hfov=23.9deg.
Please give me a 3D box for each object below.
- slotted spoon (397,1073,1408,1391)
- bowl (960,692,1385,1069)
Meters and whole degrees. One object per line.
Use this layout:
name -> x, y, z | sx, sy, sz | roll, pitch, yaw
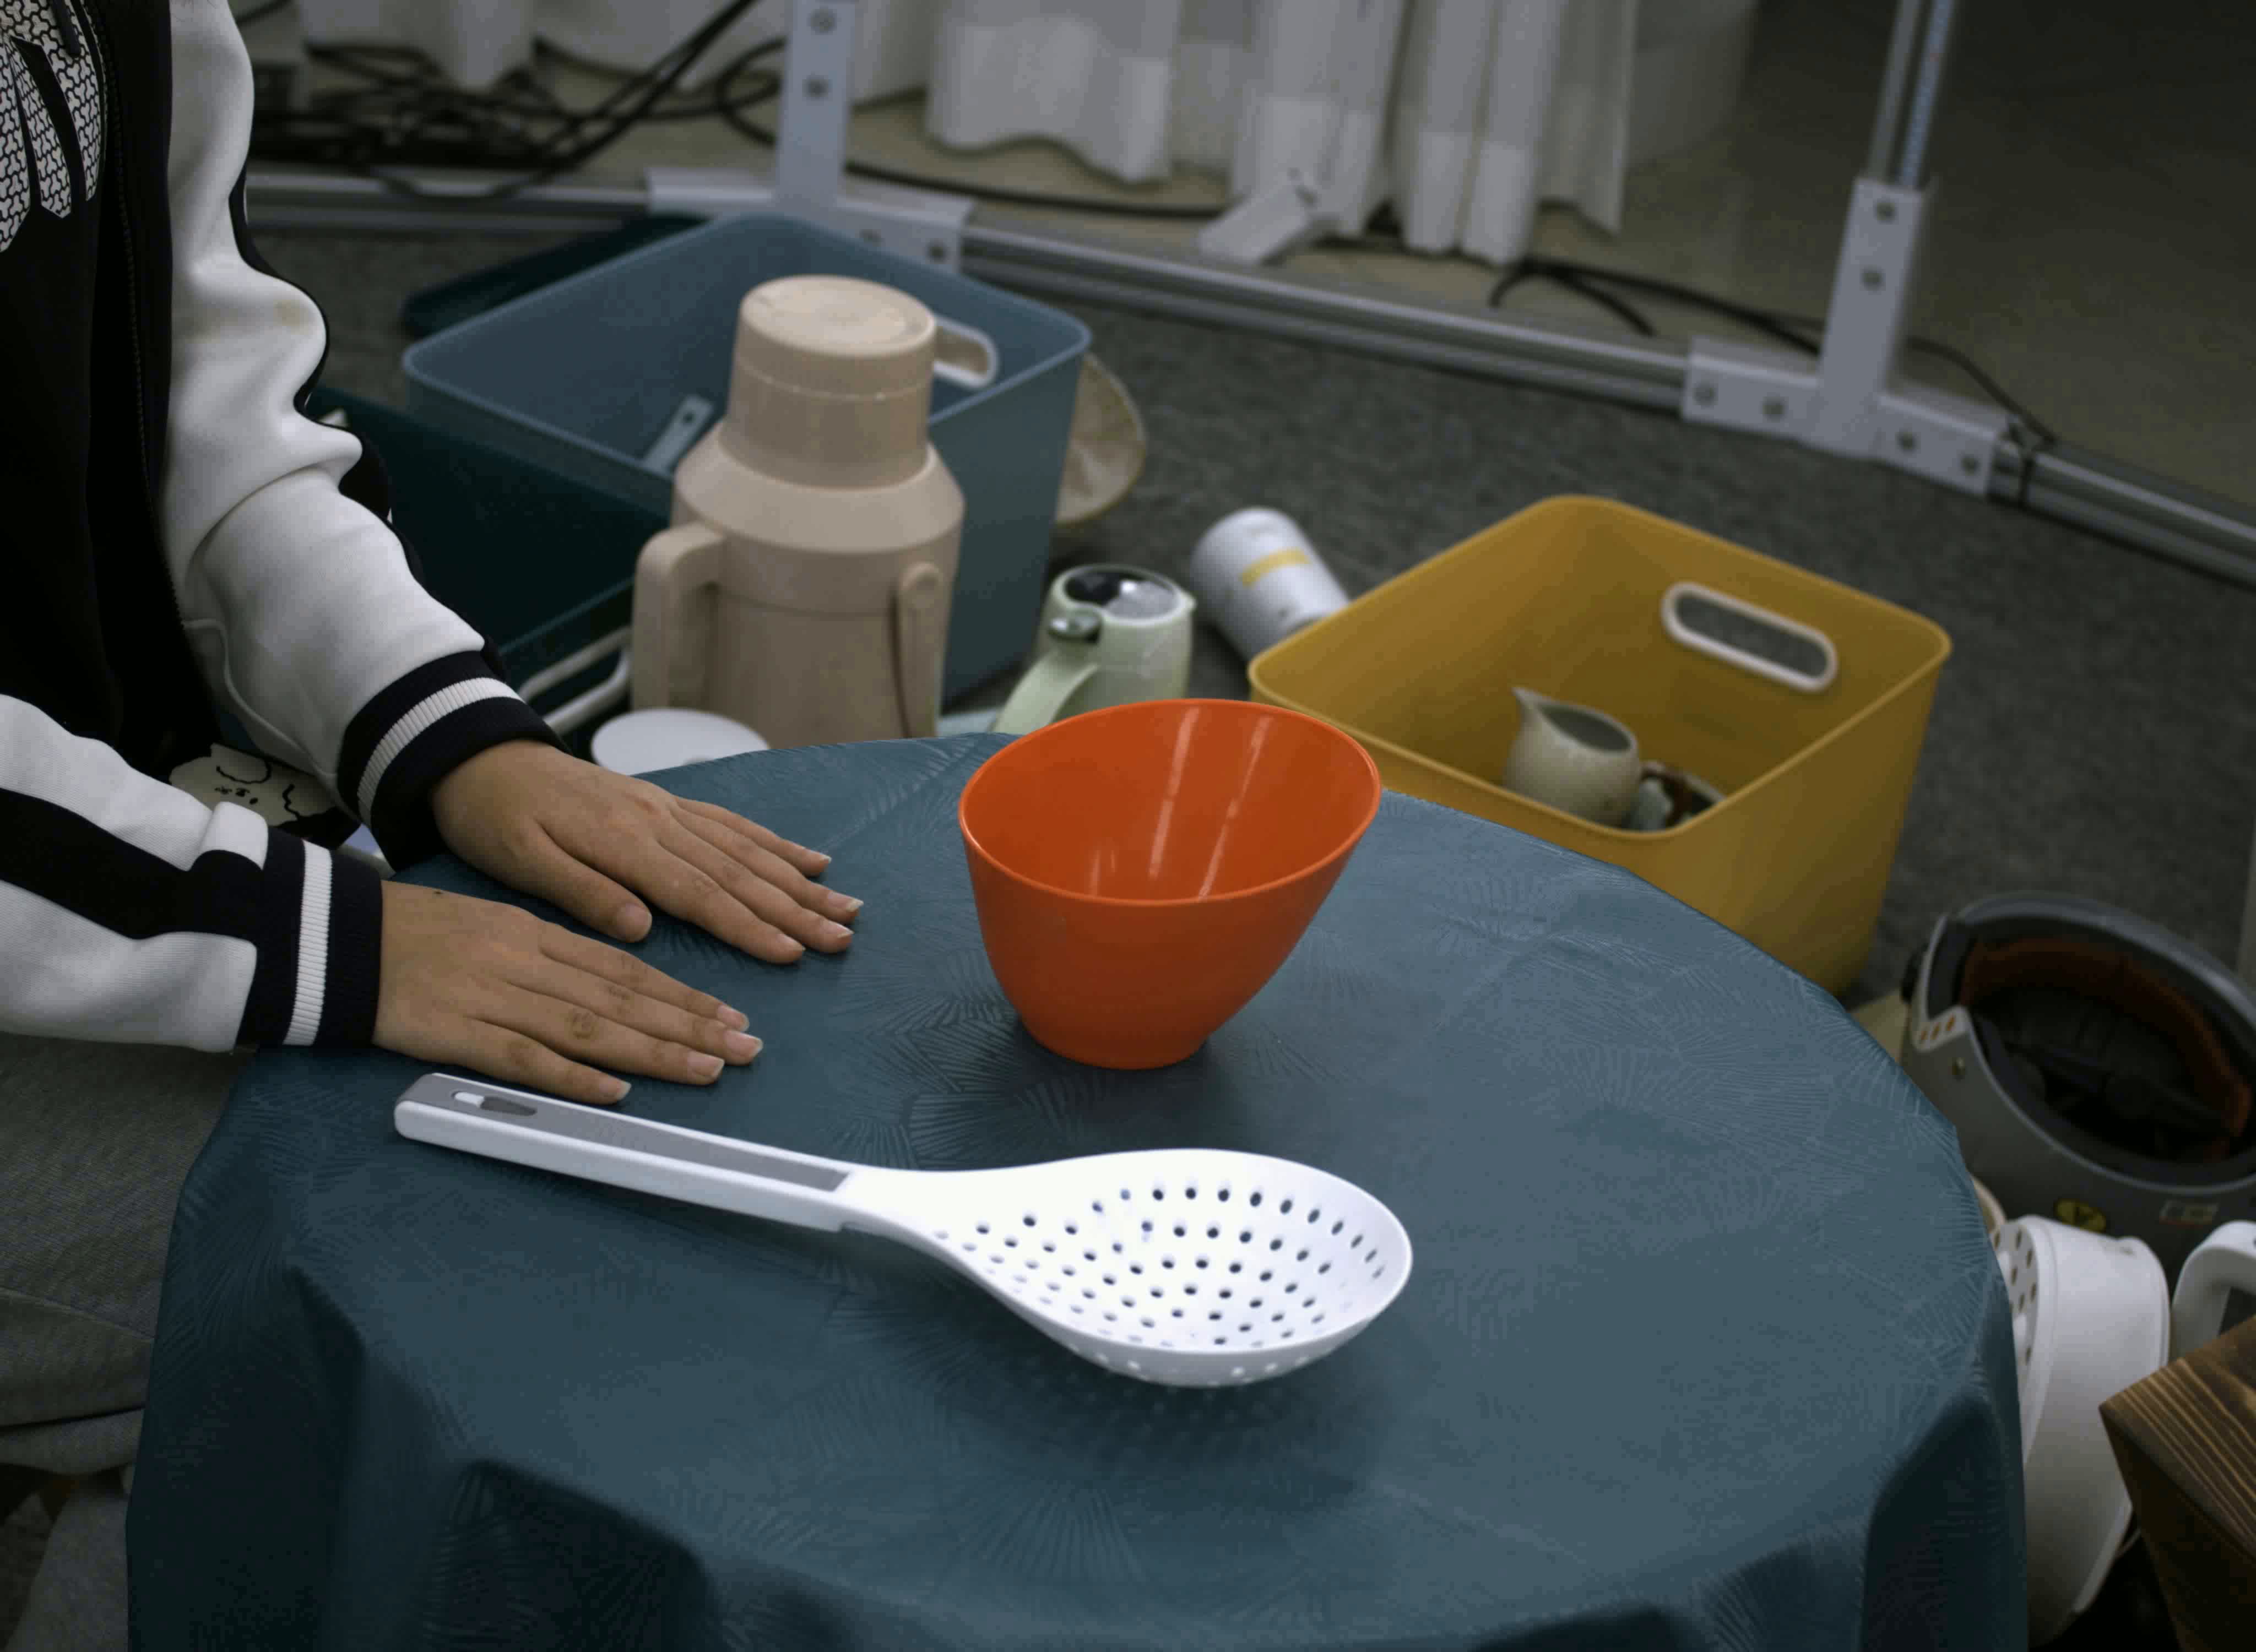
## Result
slotted spoon -> -0.079, 0.124, 1.735 | 0.350, 0.045, 0.136 | 15, 26, 17
bowl -> 0.011, 0.026, 1.883 | 0.147, 0.104, 0.149 | 5, 30, -3
